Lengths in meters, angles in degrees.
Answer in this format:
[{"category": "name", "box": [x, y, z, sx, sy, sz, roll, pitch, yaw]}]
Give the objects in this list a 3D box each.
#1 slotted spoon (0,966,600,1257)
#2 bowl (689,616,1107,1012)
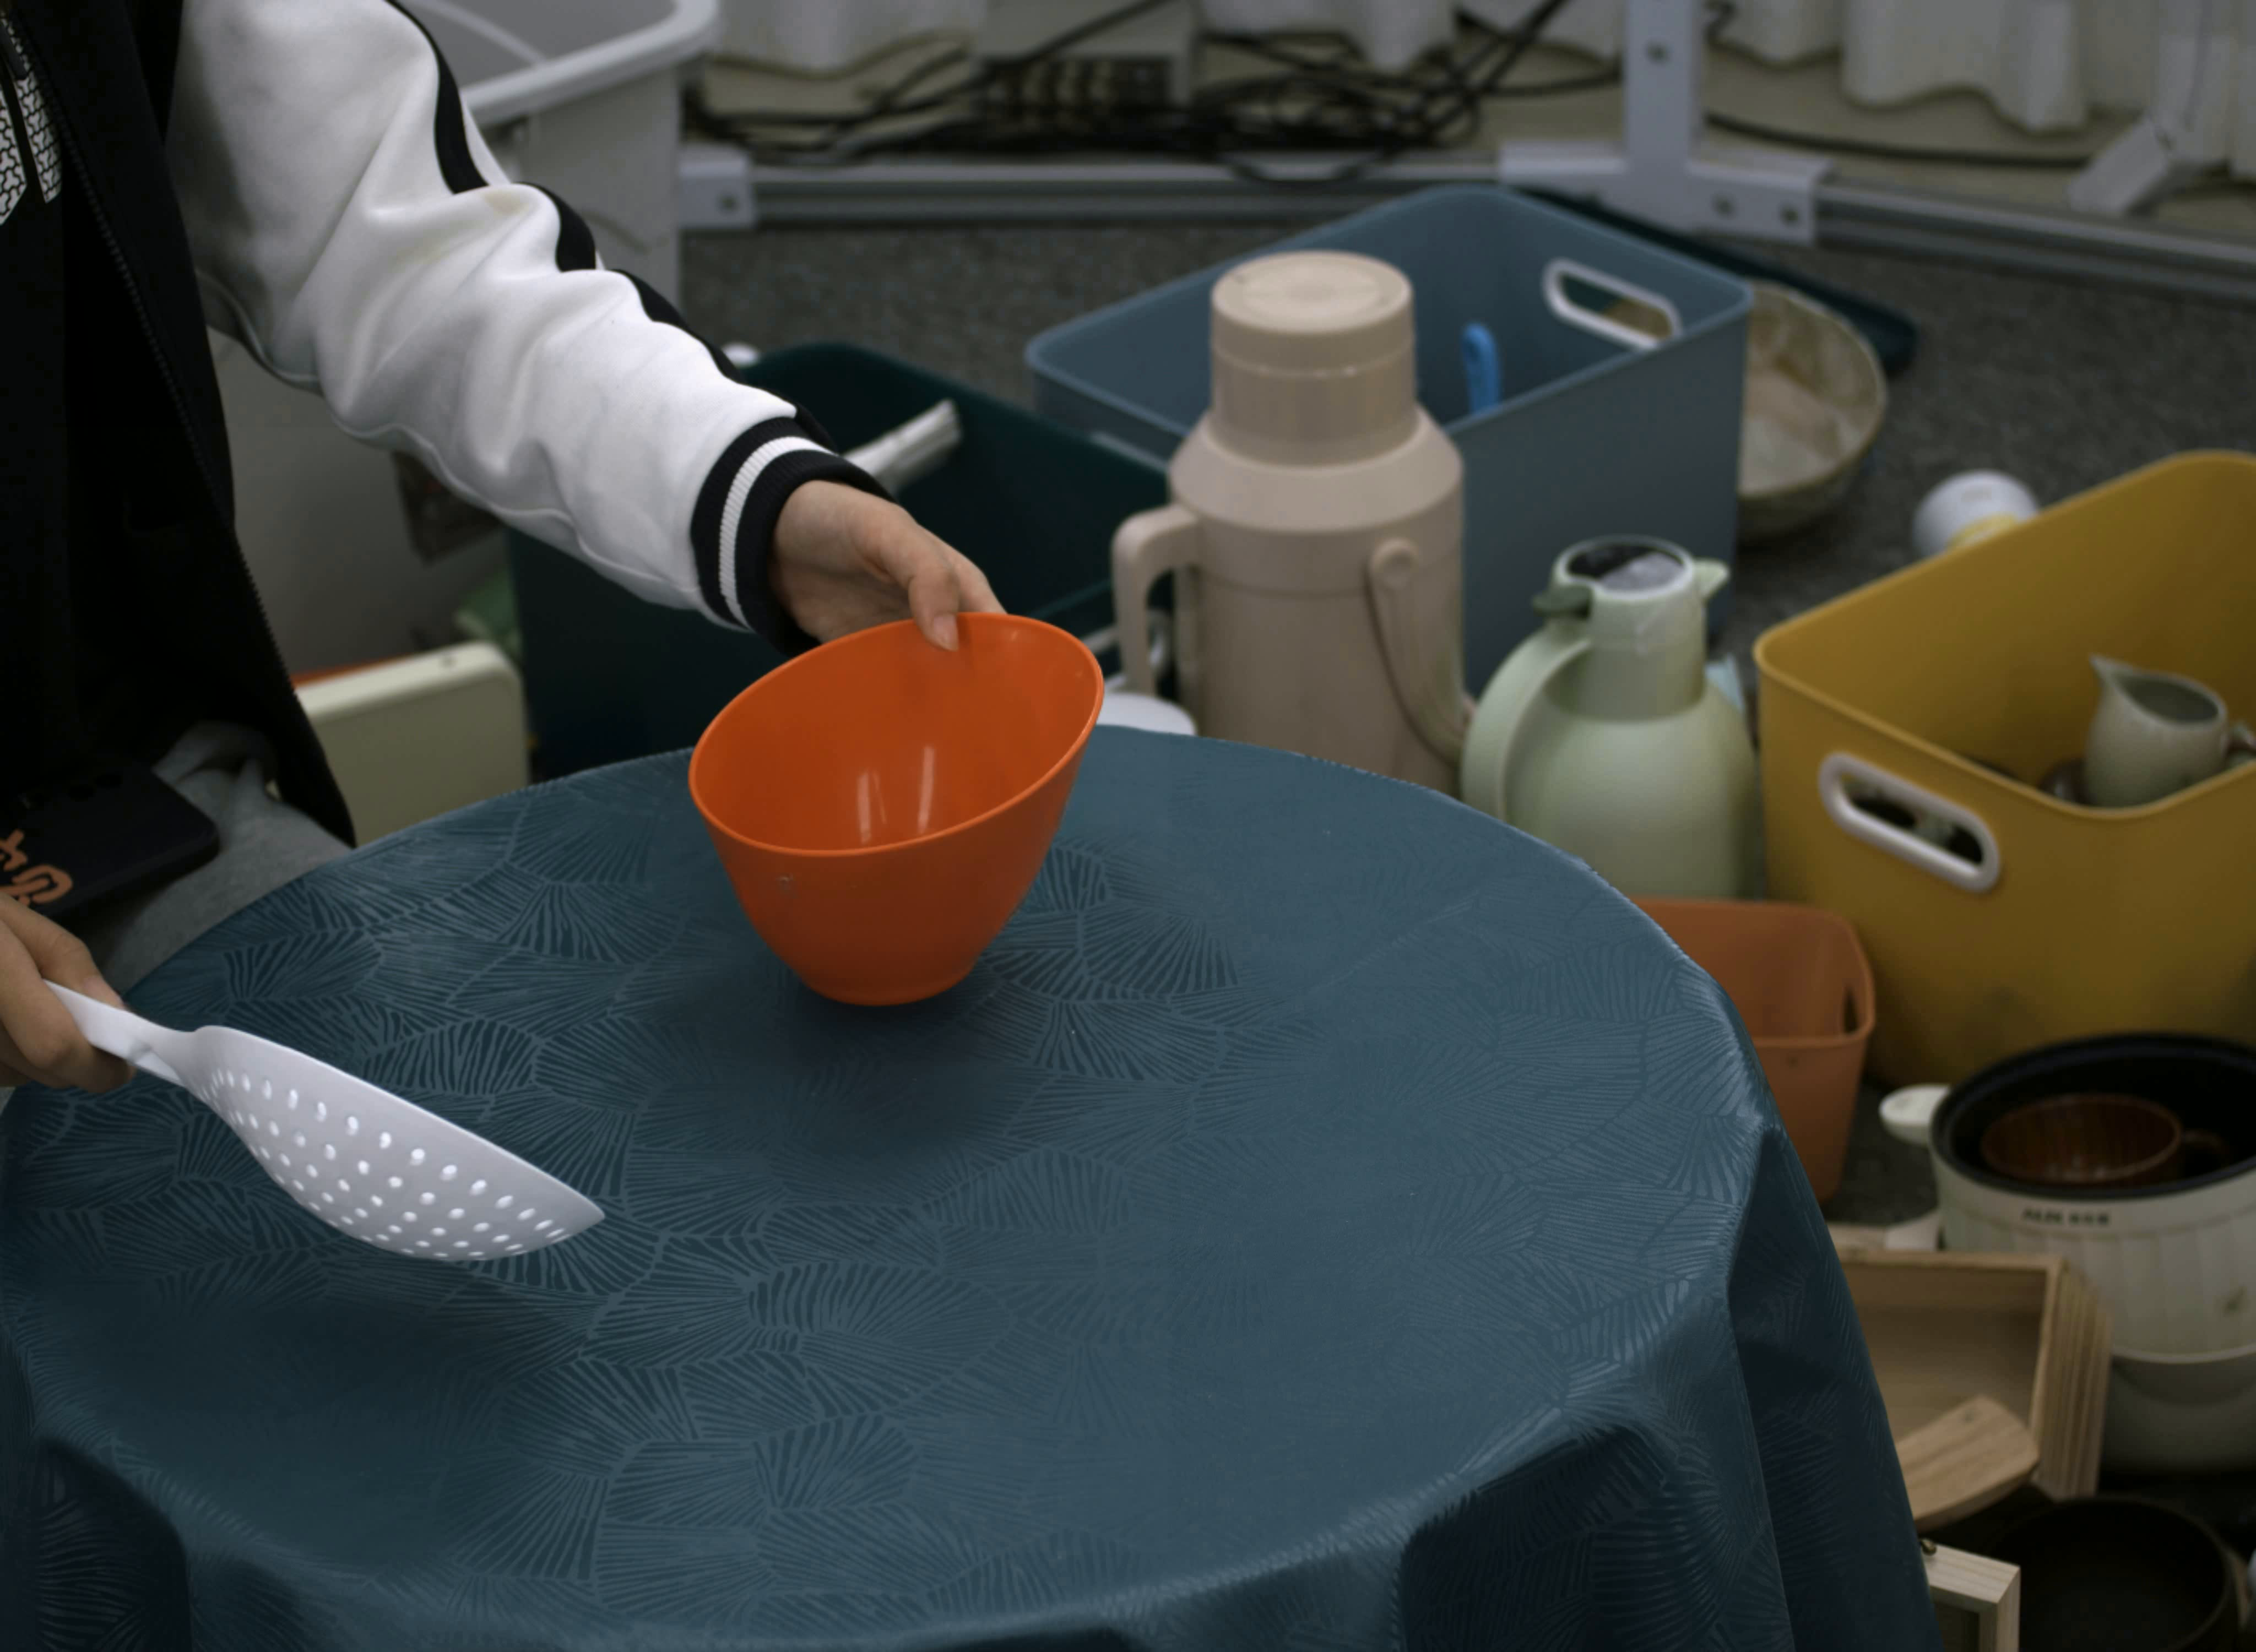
[{"category": "slotted spoon", "box": [-0.307, 0.075, 1.822, 0.349, 0.135, 0.046, 22, 78, 42]}, {"category": "bowl", "box": [-0.077, 0.003, 1.966, 0.147, 0.103, 0.150, -3, 32, 2]}]
